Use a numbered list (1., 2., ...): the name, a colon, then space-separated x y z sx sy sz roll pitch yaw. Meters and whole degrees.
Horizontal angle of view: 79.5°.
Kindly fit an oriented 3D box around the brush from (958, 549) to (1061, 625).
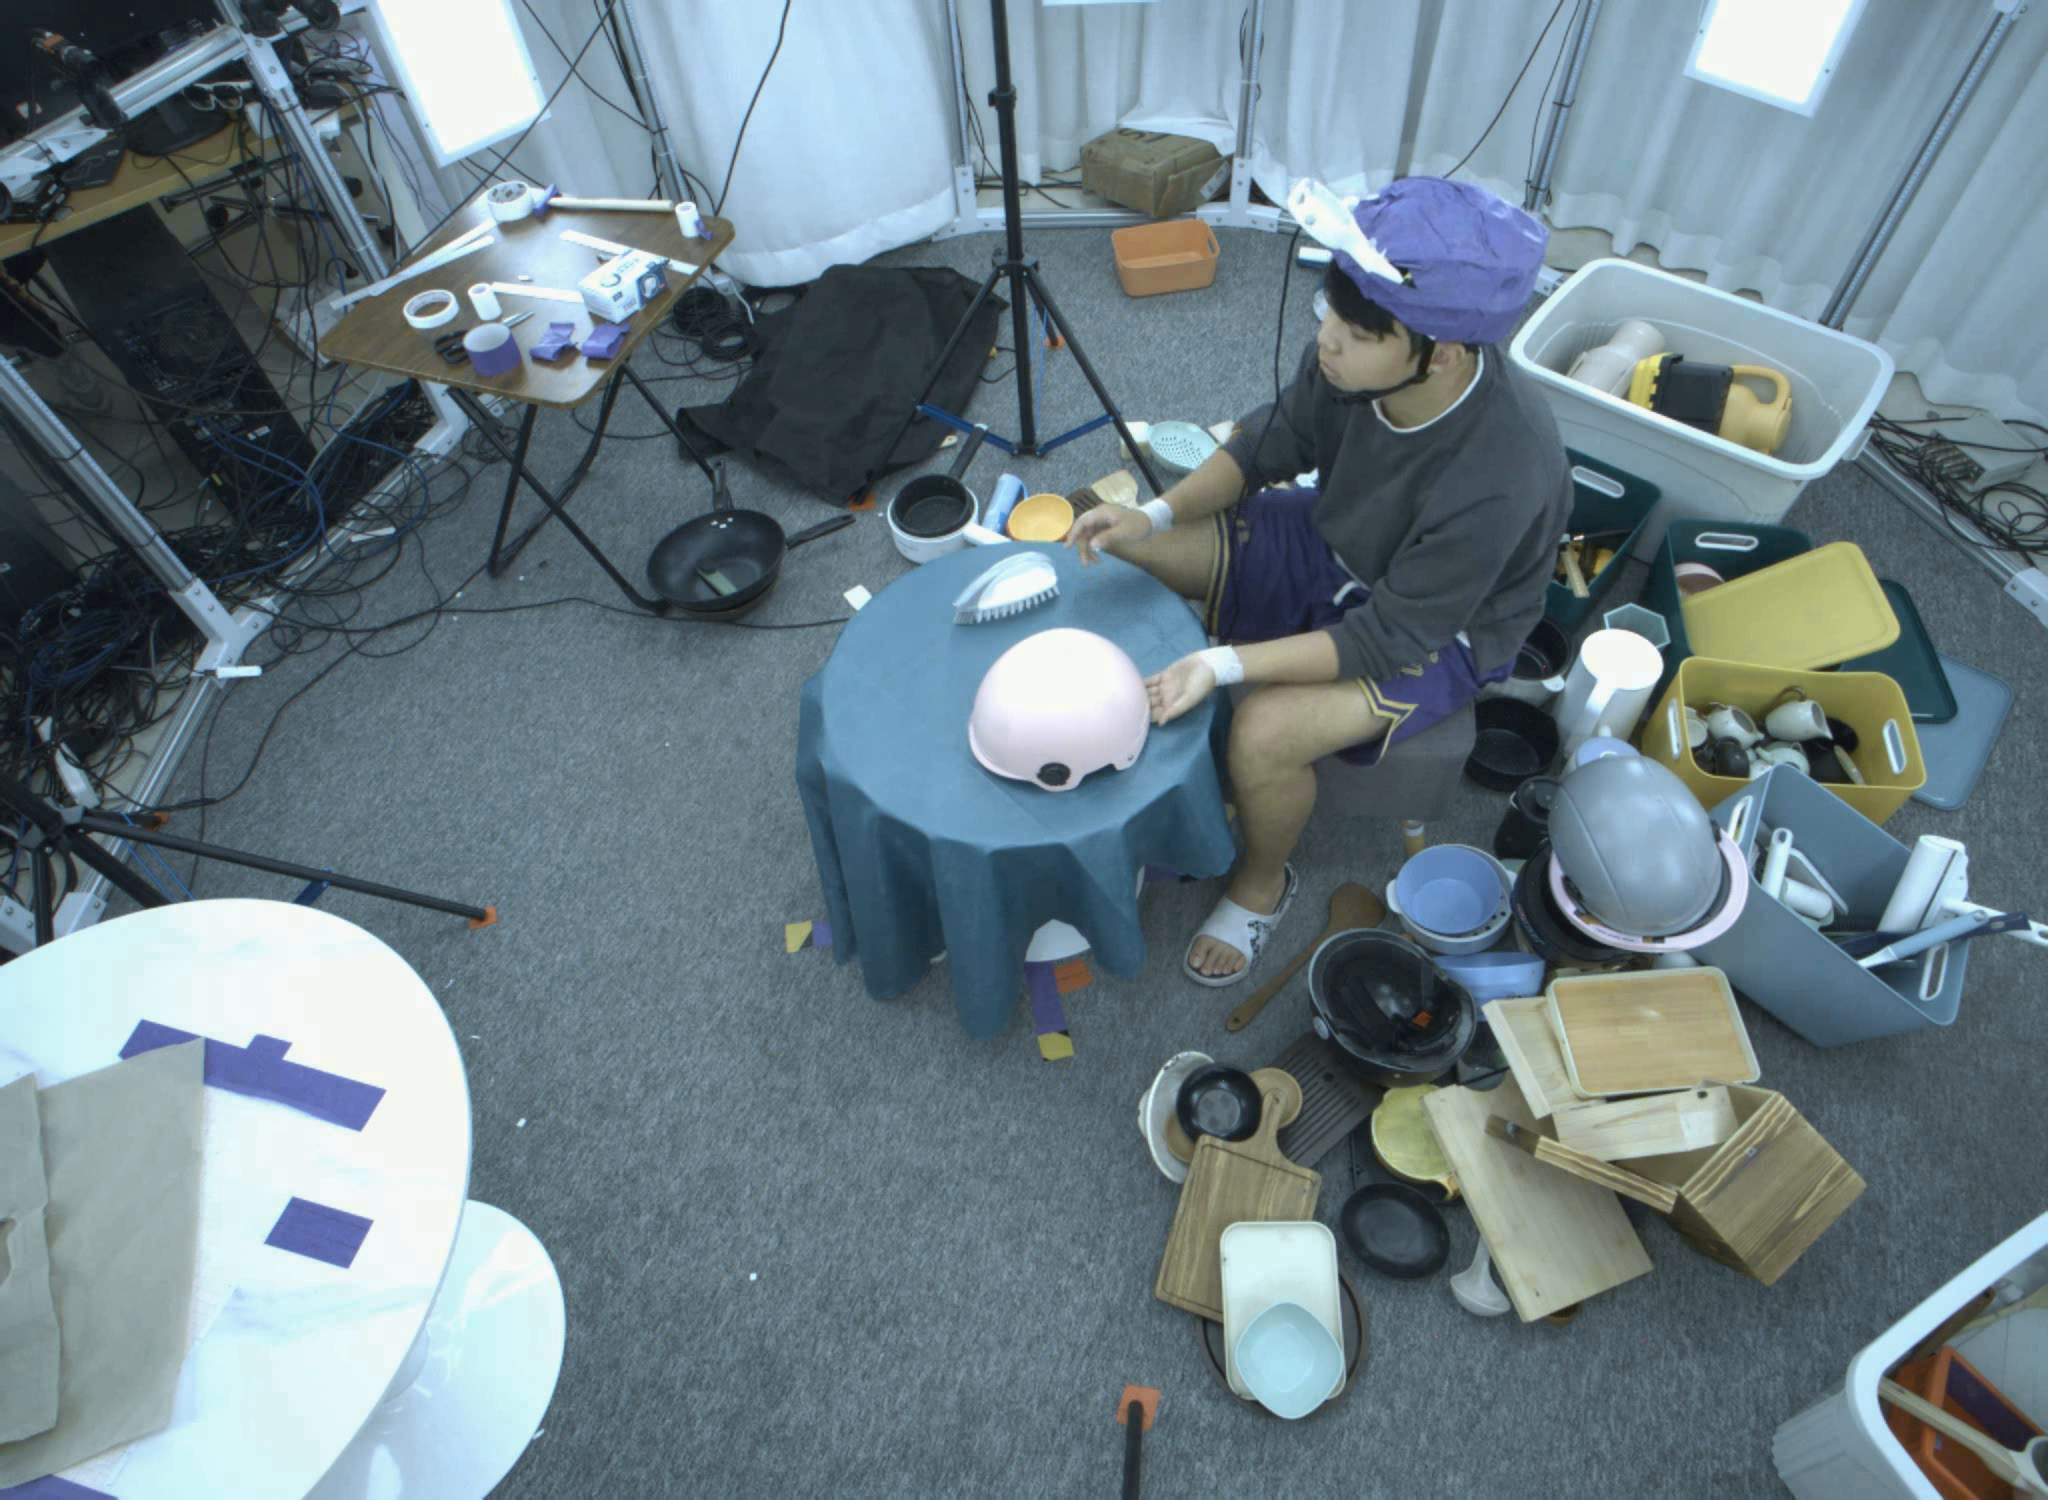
1. brush: -0.031 -0.258 1.918 0.176 0.095 0.060 -25 56 -12

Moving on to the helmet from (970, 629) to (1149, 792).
1. helmet: 0.044 -0.076 1.750 0.266 0.161 0.230 -13 55 -2
